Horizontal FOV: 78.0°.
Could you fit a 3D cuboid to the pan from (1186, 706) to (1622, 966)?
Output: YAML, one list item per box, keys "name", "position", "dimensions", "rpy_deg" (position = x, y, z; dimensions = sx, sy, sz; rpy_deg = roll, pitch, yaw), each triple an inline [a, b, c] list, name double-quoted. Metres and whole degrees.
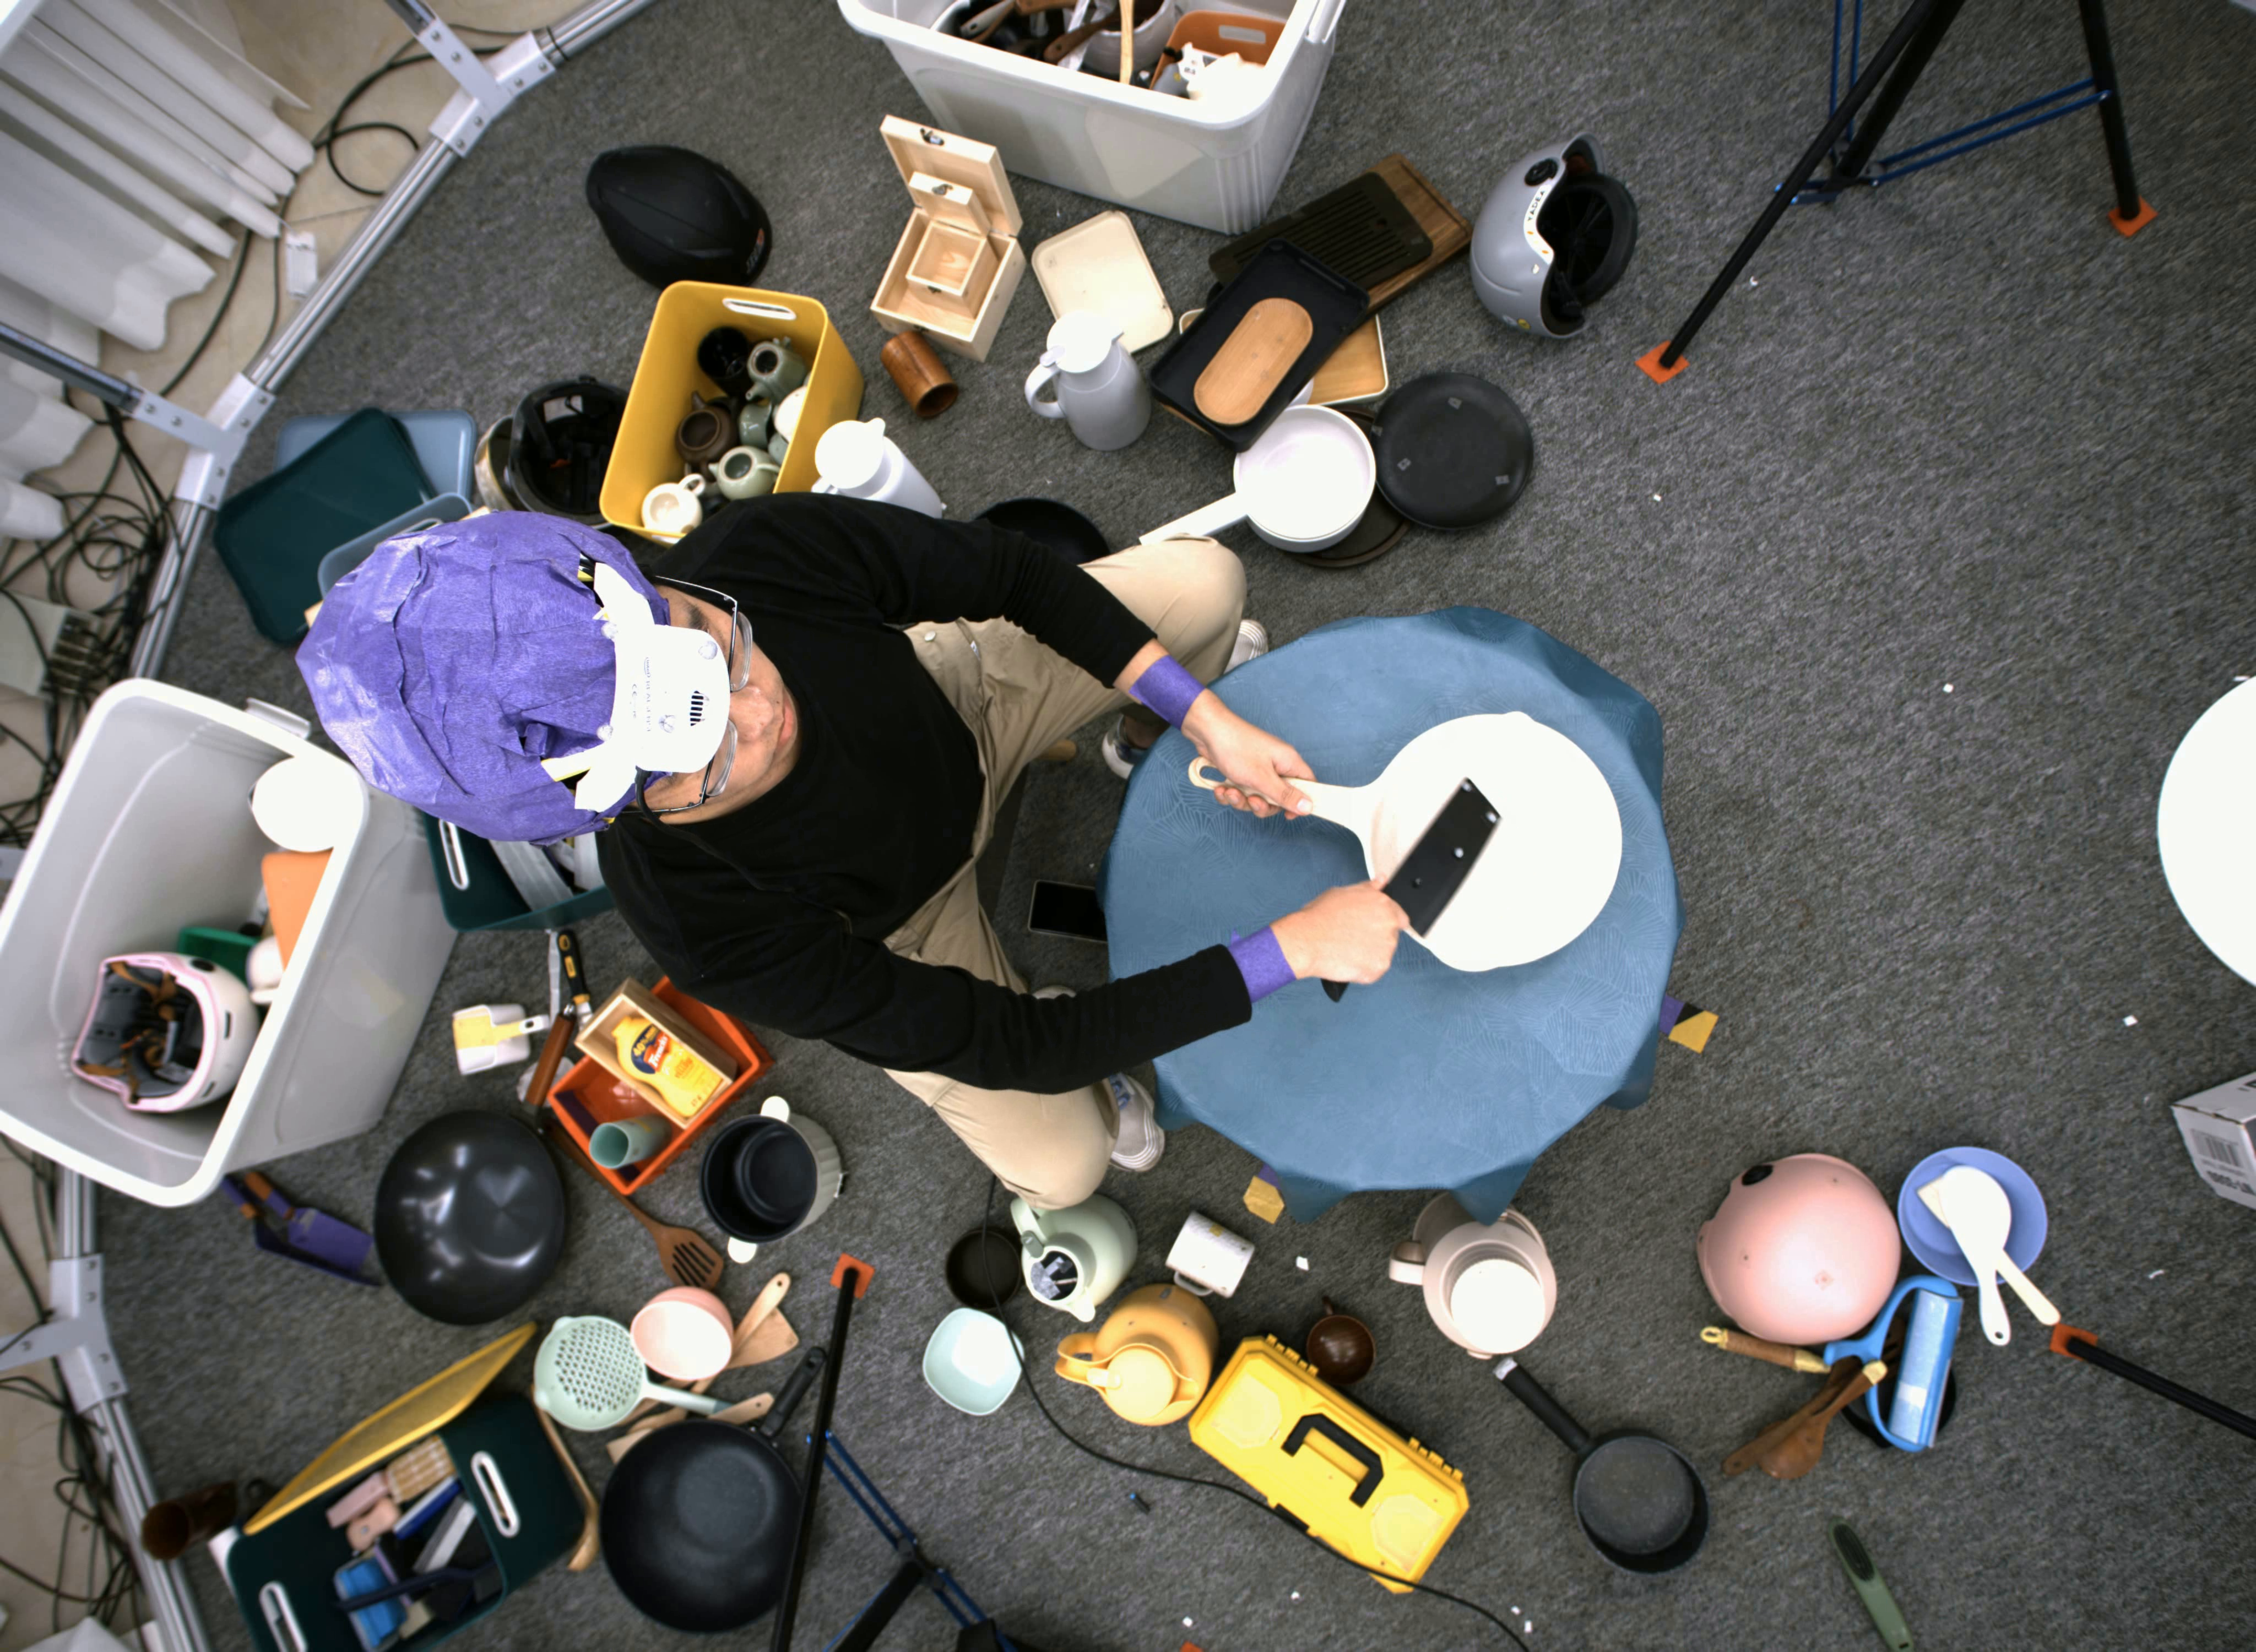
- name: "pan"
  position: [0.278, -0.009, 1.414]
  dimensions: [0.435, 0.102, 0.263]
  rpy_deg: [12, 91, 11]

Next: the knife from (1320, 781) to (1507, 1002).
- name: "knife"
  position: [0.283, 0.065, 1.355]
  dimensions: [0.297, 0.021, 0.081]
  rpy_deg: [-42, 98, -27]
